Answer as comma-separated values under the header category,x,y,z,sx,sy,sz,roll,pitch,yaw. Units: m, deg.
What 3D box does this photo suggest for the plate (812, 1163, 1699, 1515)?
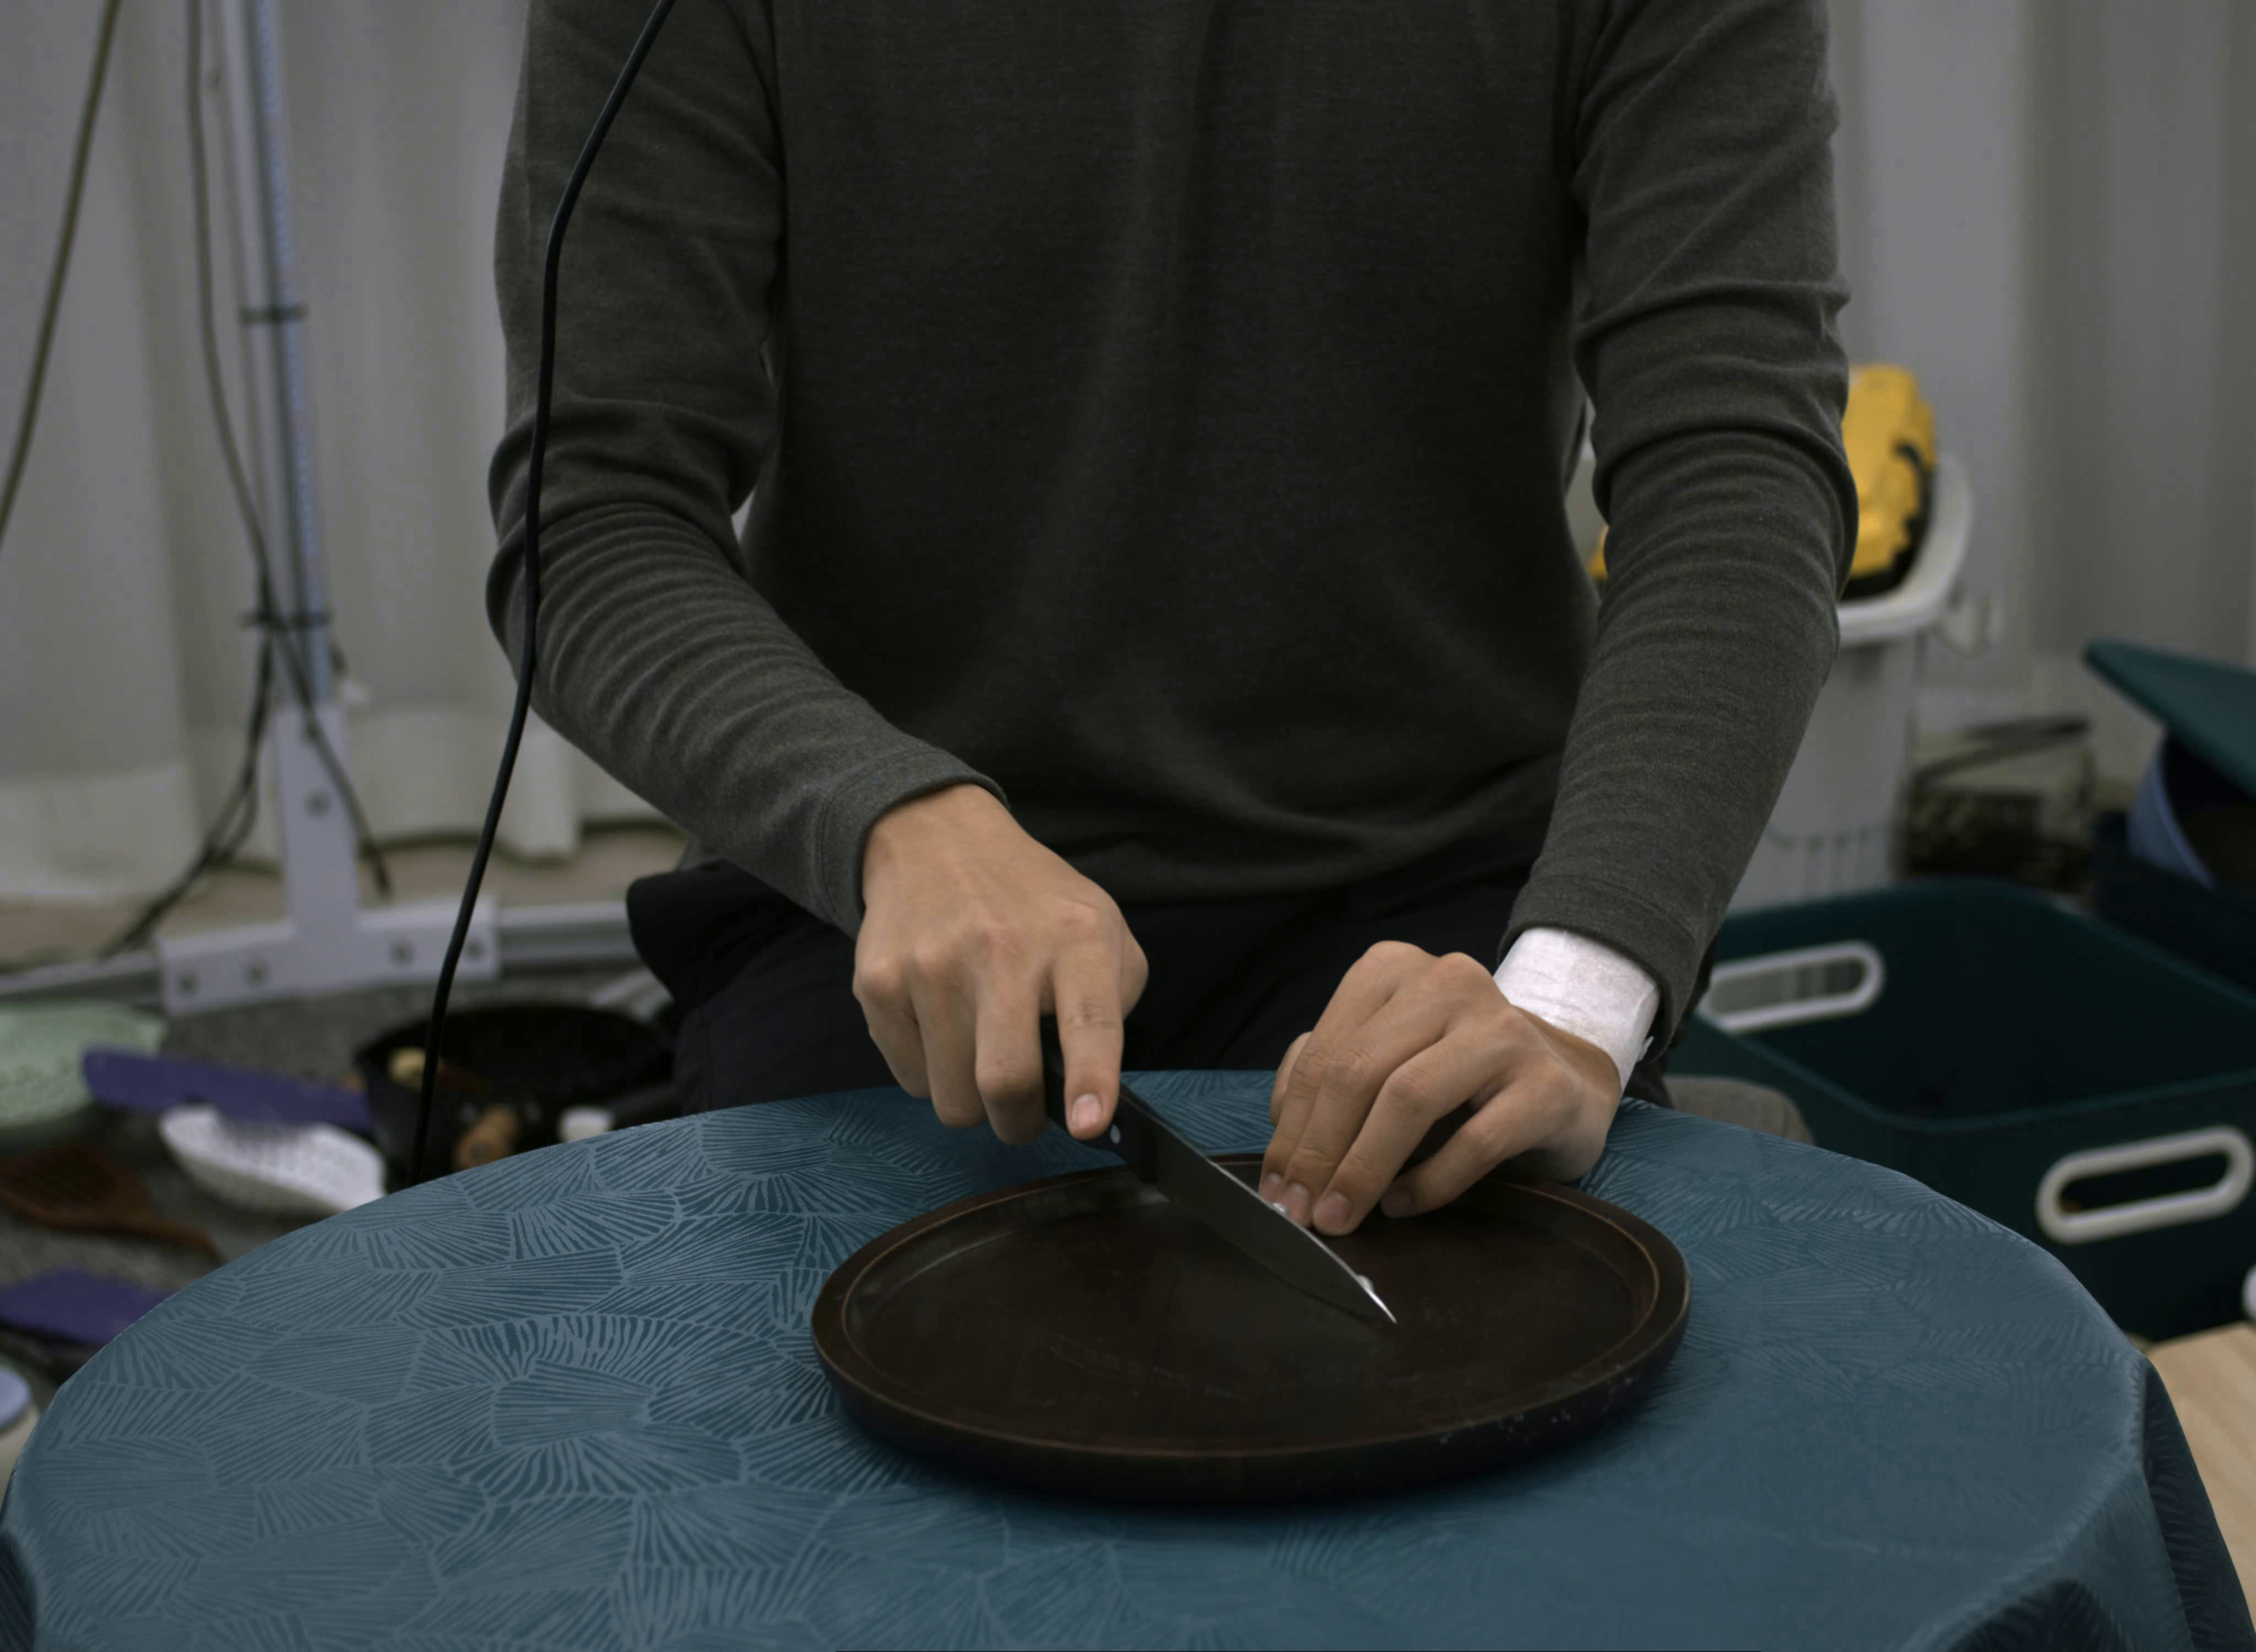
category,x,y,z,sx,sy,sz,roll,pitch,yaw
plate,0.036,0.143,1.560,0.254,0.029,0.256,-2,16,0

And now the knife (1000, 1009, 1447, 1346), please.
category,x,y,z,sx,sy,sz,roll,pitch,yaw
knife,0.027,0.102,1.621,0.016,0.024,0.240,-4,21,-32
